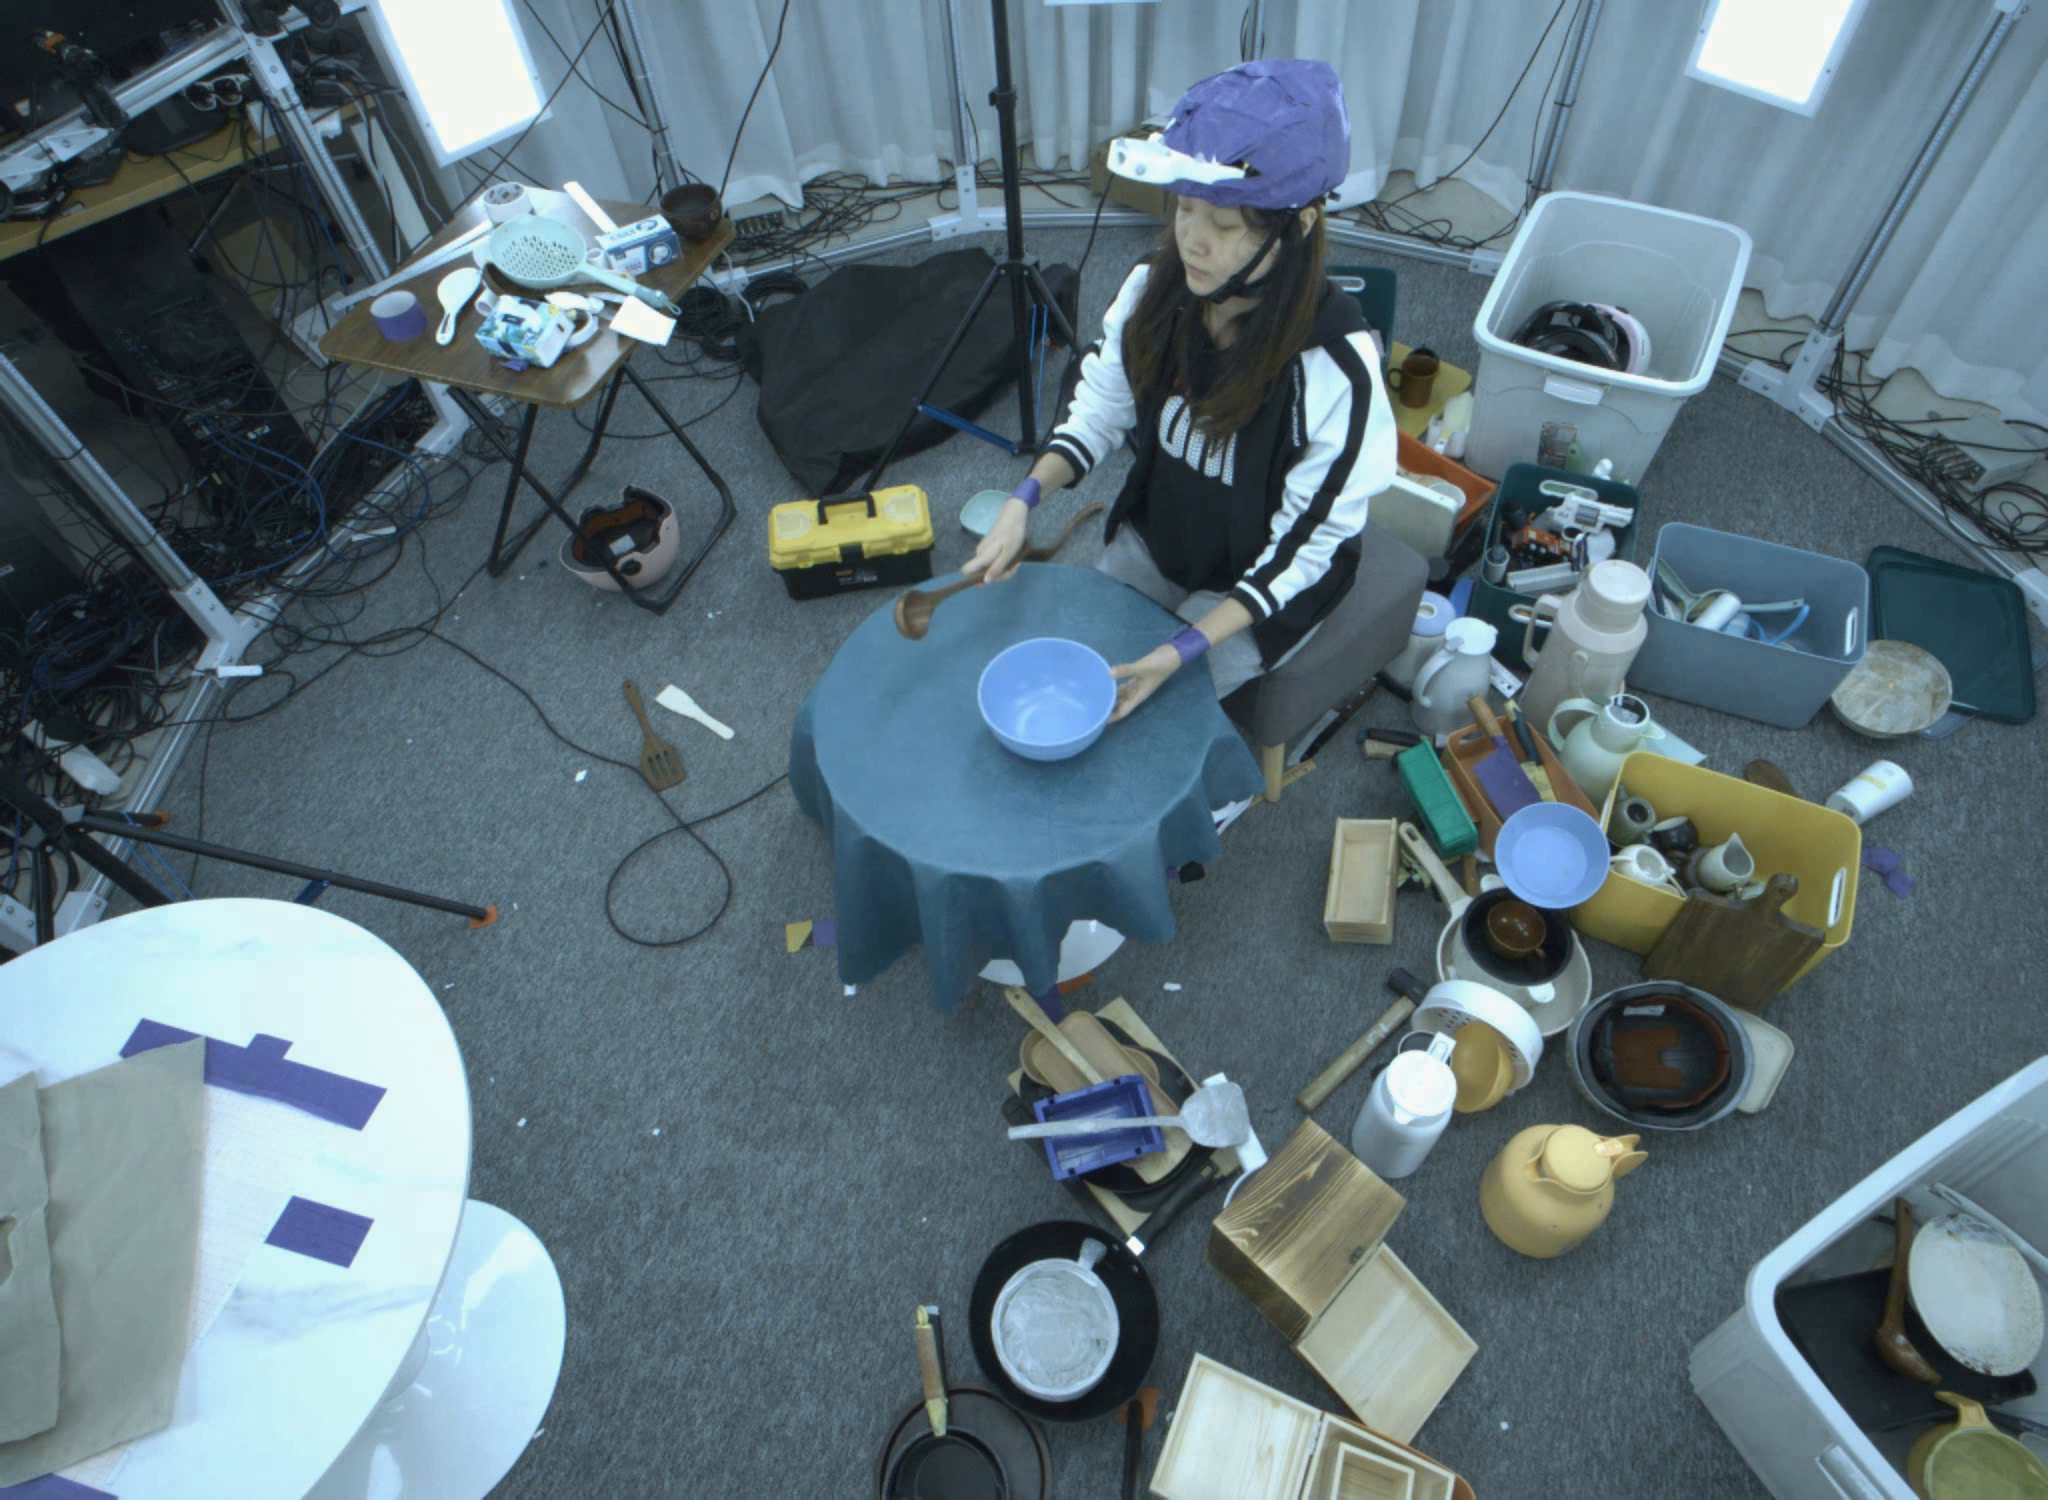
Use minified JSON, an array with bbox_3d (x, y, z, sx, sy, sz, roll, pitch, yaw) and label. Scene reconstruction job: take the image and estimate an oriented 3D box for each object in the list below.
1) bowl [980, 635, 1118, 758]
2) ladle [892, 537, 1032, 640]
[{"bbox_3d":[0.042,-0.061,1.772,0.195,0.097,0.194,-4,54,7],"label":"bowl"},{"bbox_3d":[-0.086,-0.249,1.841,0.262,0.078,0.063,-30,37,-15],"label":"ladle"}]
